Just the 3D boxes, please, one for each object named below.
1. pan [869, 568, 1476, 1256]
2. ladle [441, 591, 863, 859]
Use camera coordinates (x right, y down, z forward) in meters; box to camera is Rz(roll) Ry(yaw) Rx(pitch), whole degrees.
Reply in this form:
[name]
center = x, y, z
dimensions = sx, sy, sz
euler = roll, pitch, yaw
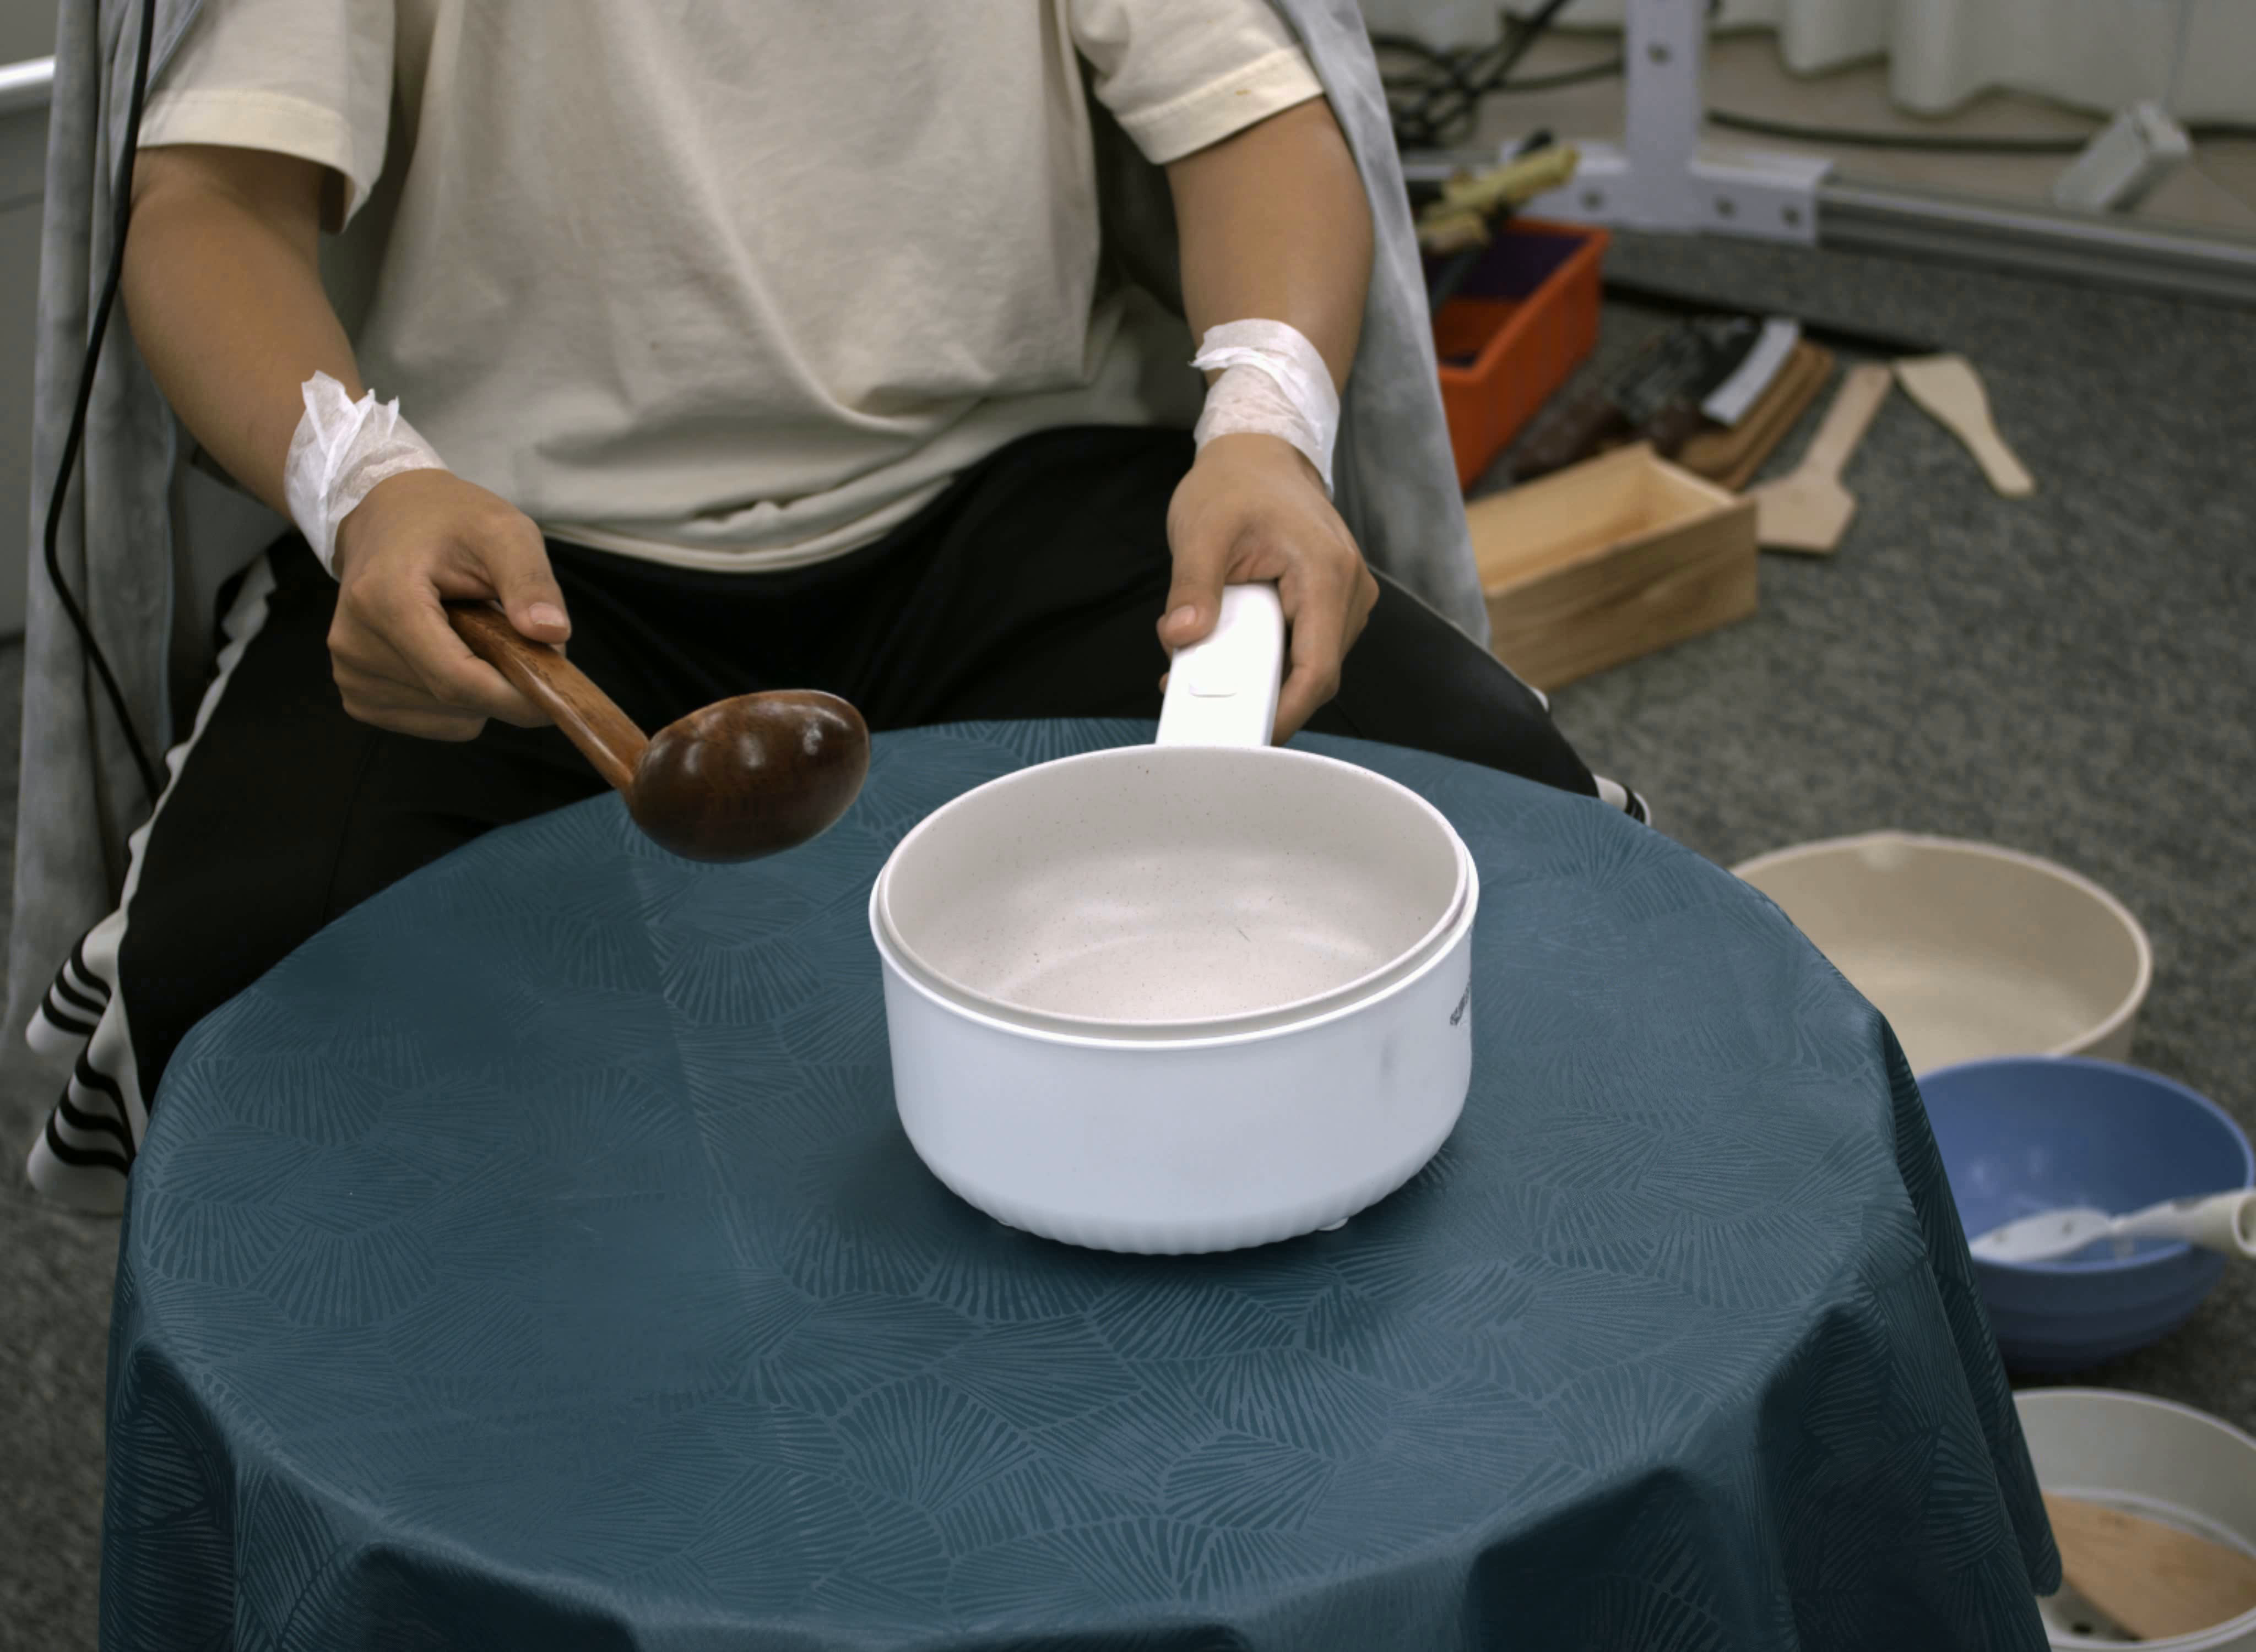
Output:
[pan]
center = 0.026, 0.027, 1.937
dimensions = 0.200, 0.101, 0.360
euler = -1, 26, 7
[ladle]
center = -0.170, -0.057, 1.865
dimensions = 0.082, 0.076, 0.275
euler = 8, 18, -30
